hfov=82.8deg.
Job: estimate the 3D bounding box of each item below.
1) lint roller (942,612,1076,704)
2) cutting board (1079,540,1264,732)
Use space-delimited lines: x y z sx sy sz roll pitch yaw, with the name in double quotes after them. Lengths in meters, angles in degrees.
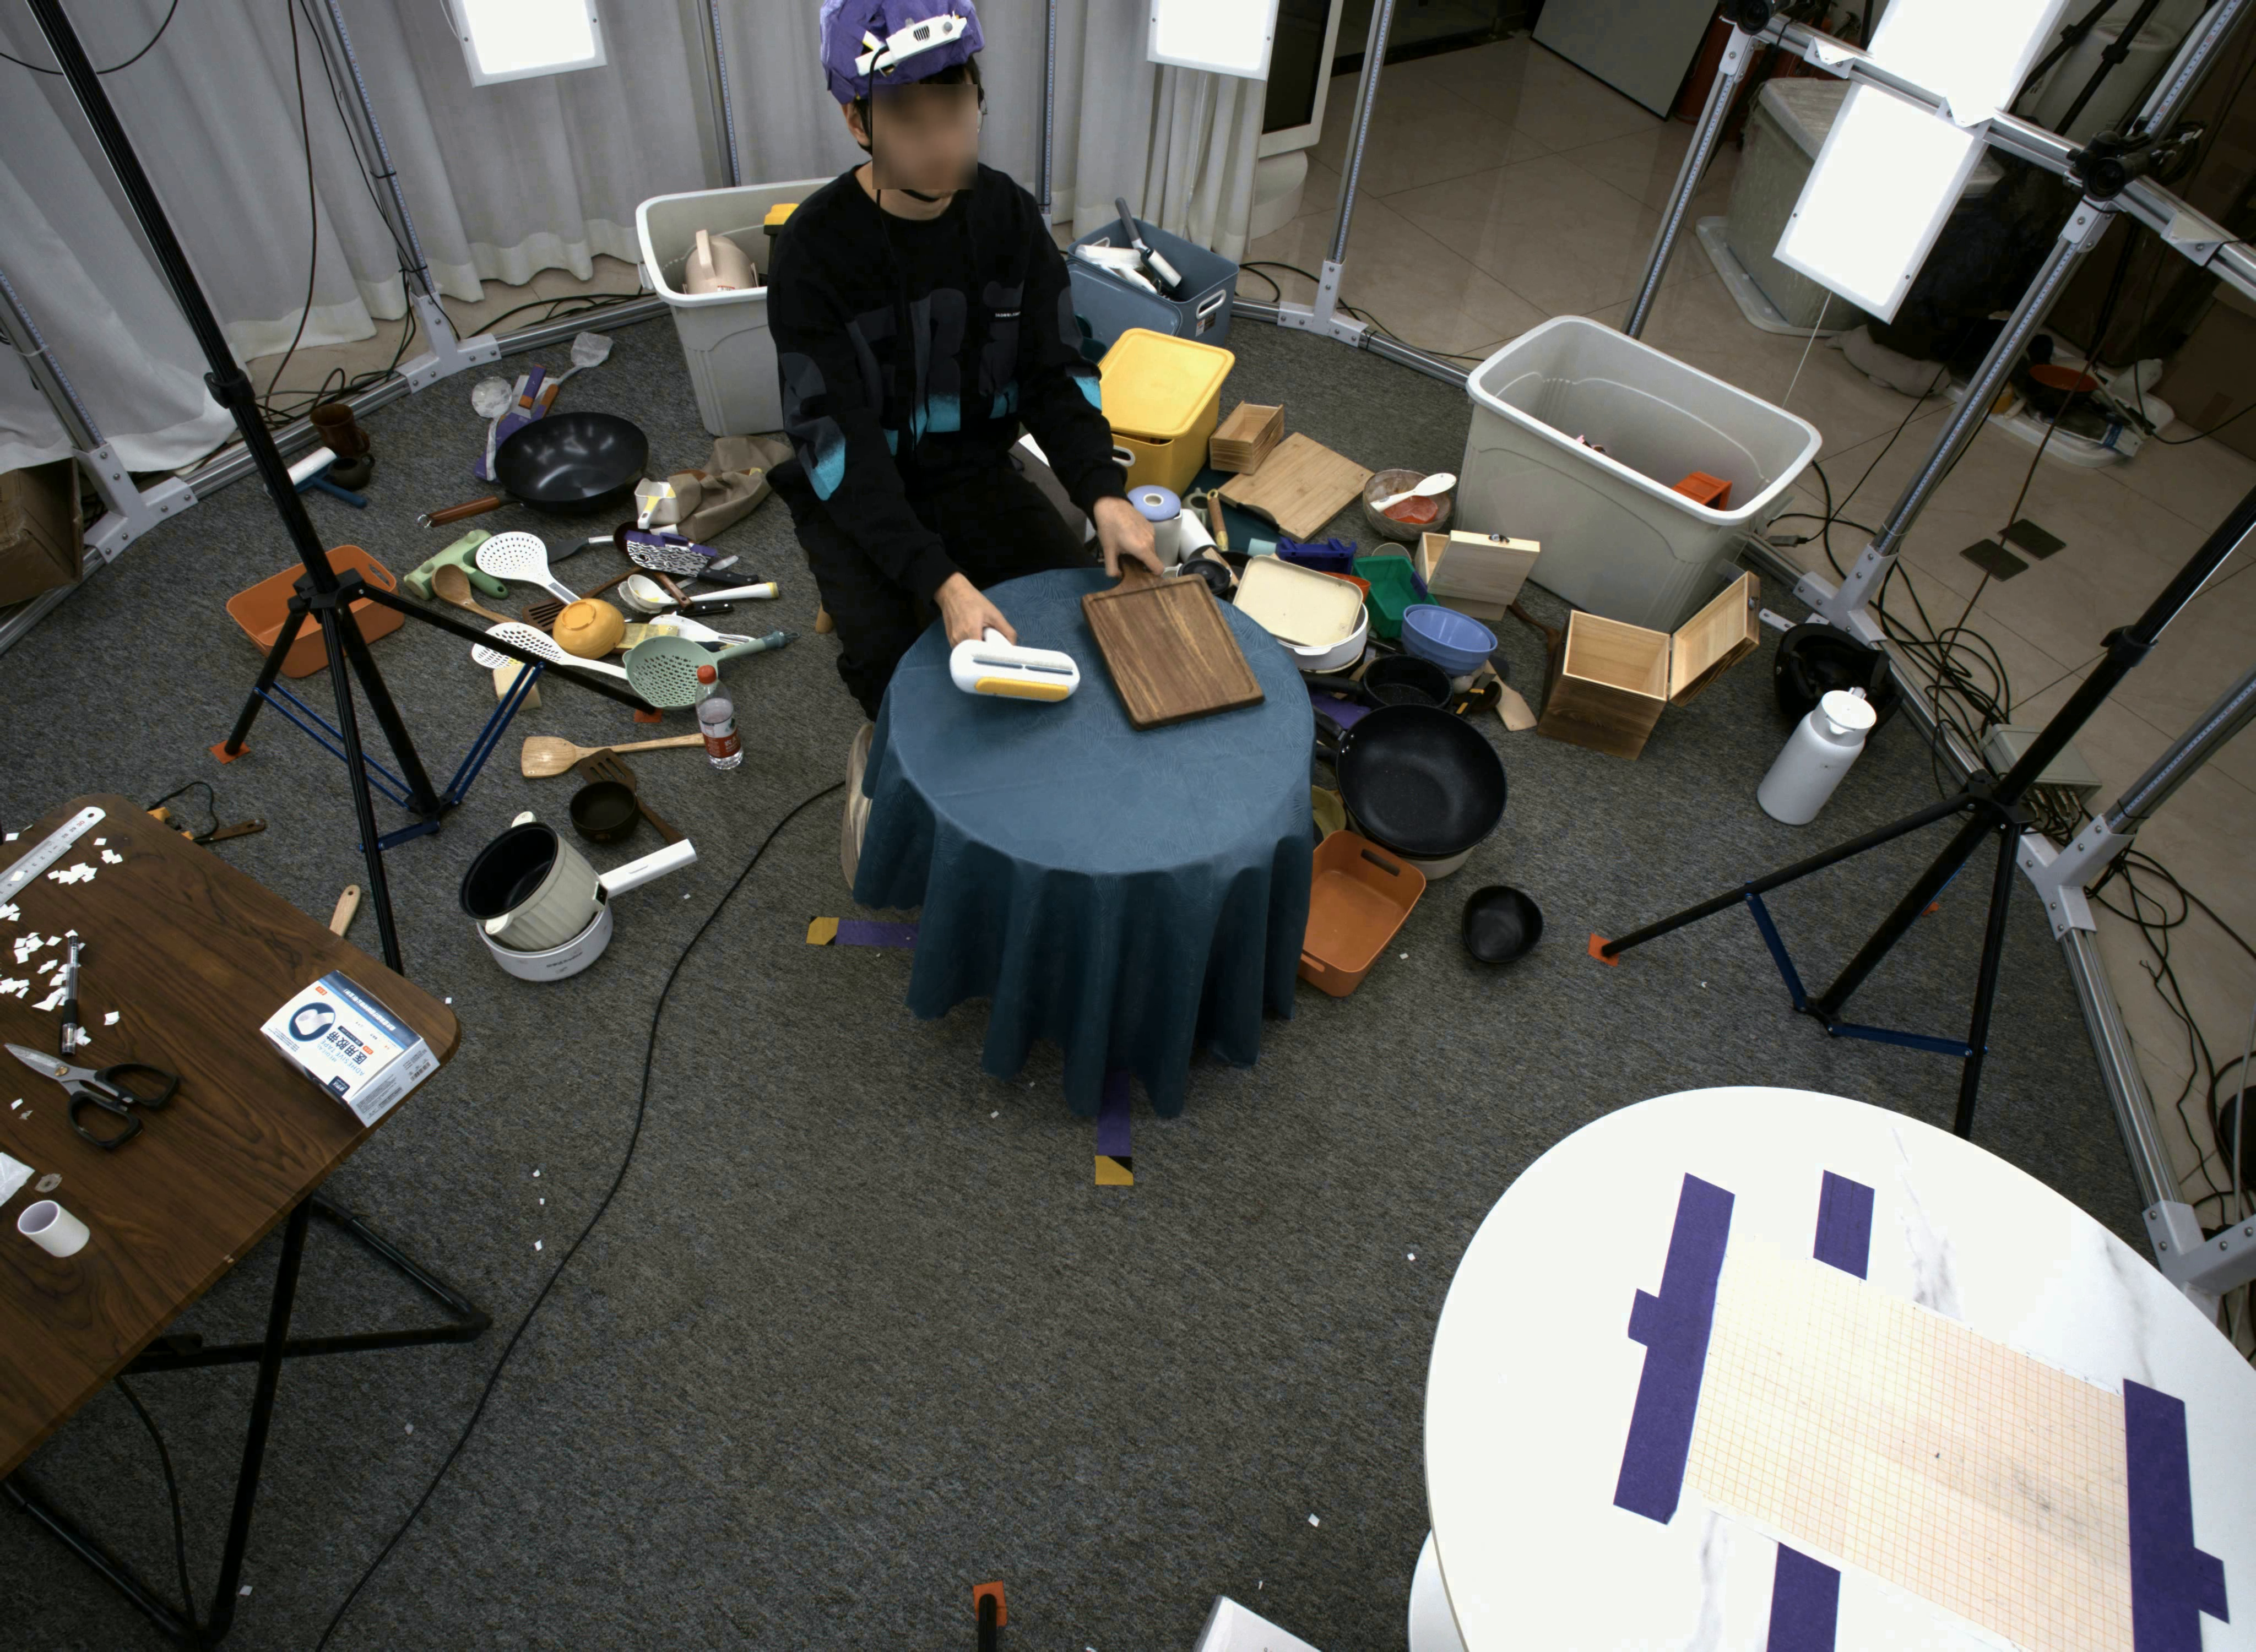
-0.183 -0.249 1.805 0.192 0.073 0.197 1 46 -28 "lint roller"
0.044 -0.296 1.894 0.201 0.022 0.360 -14 57 -15 "cutting board"
